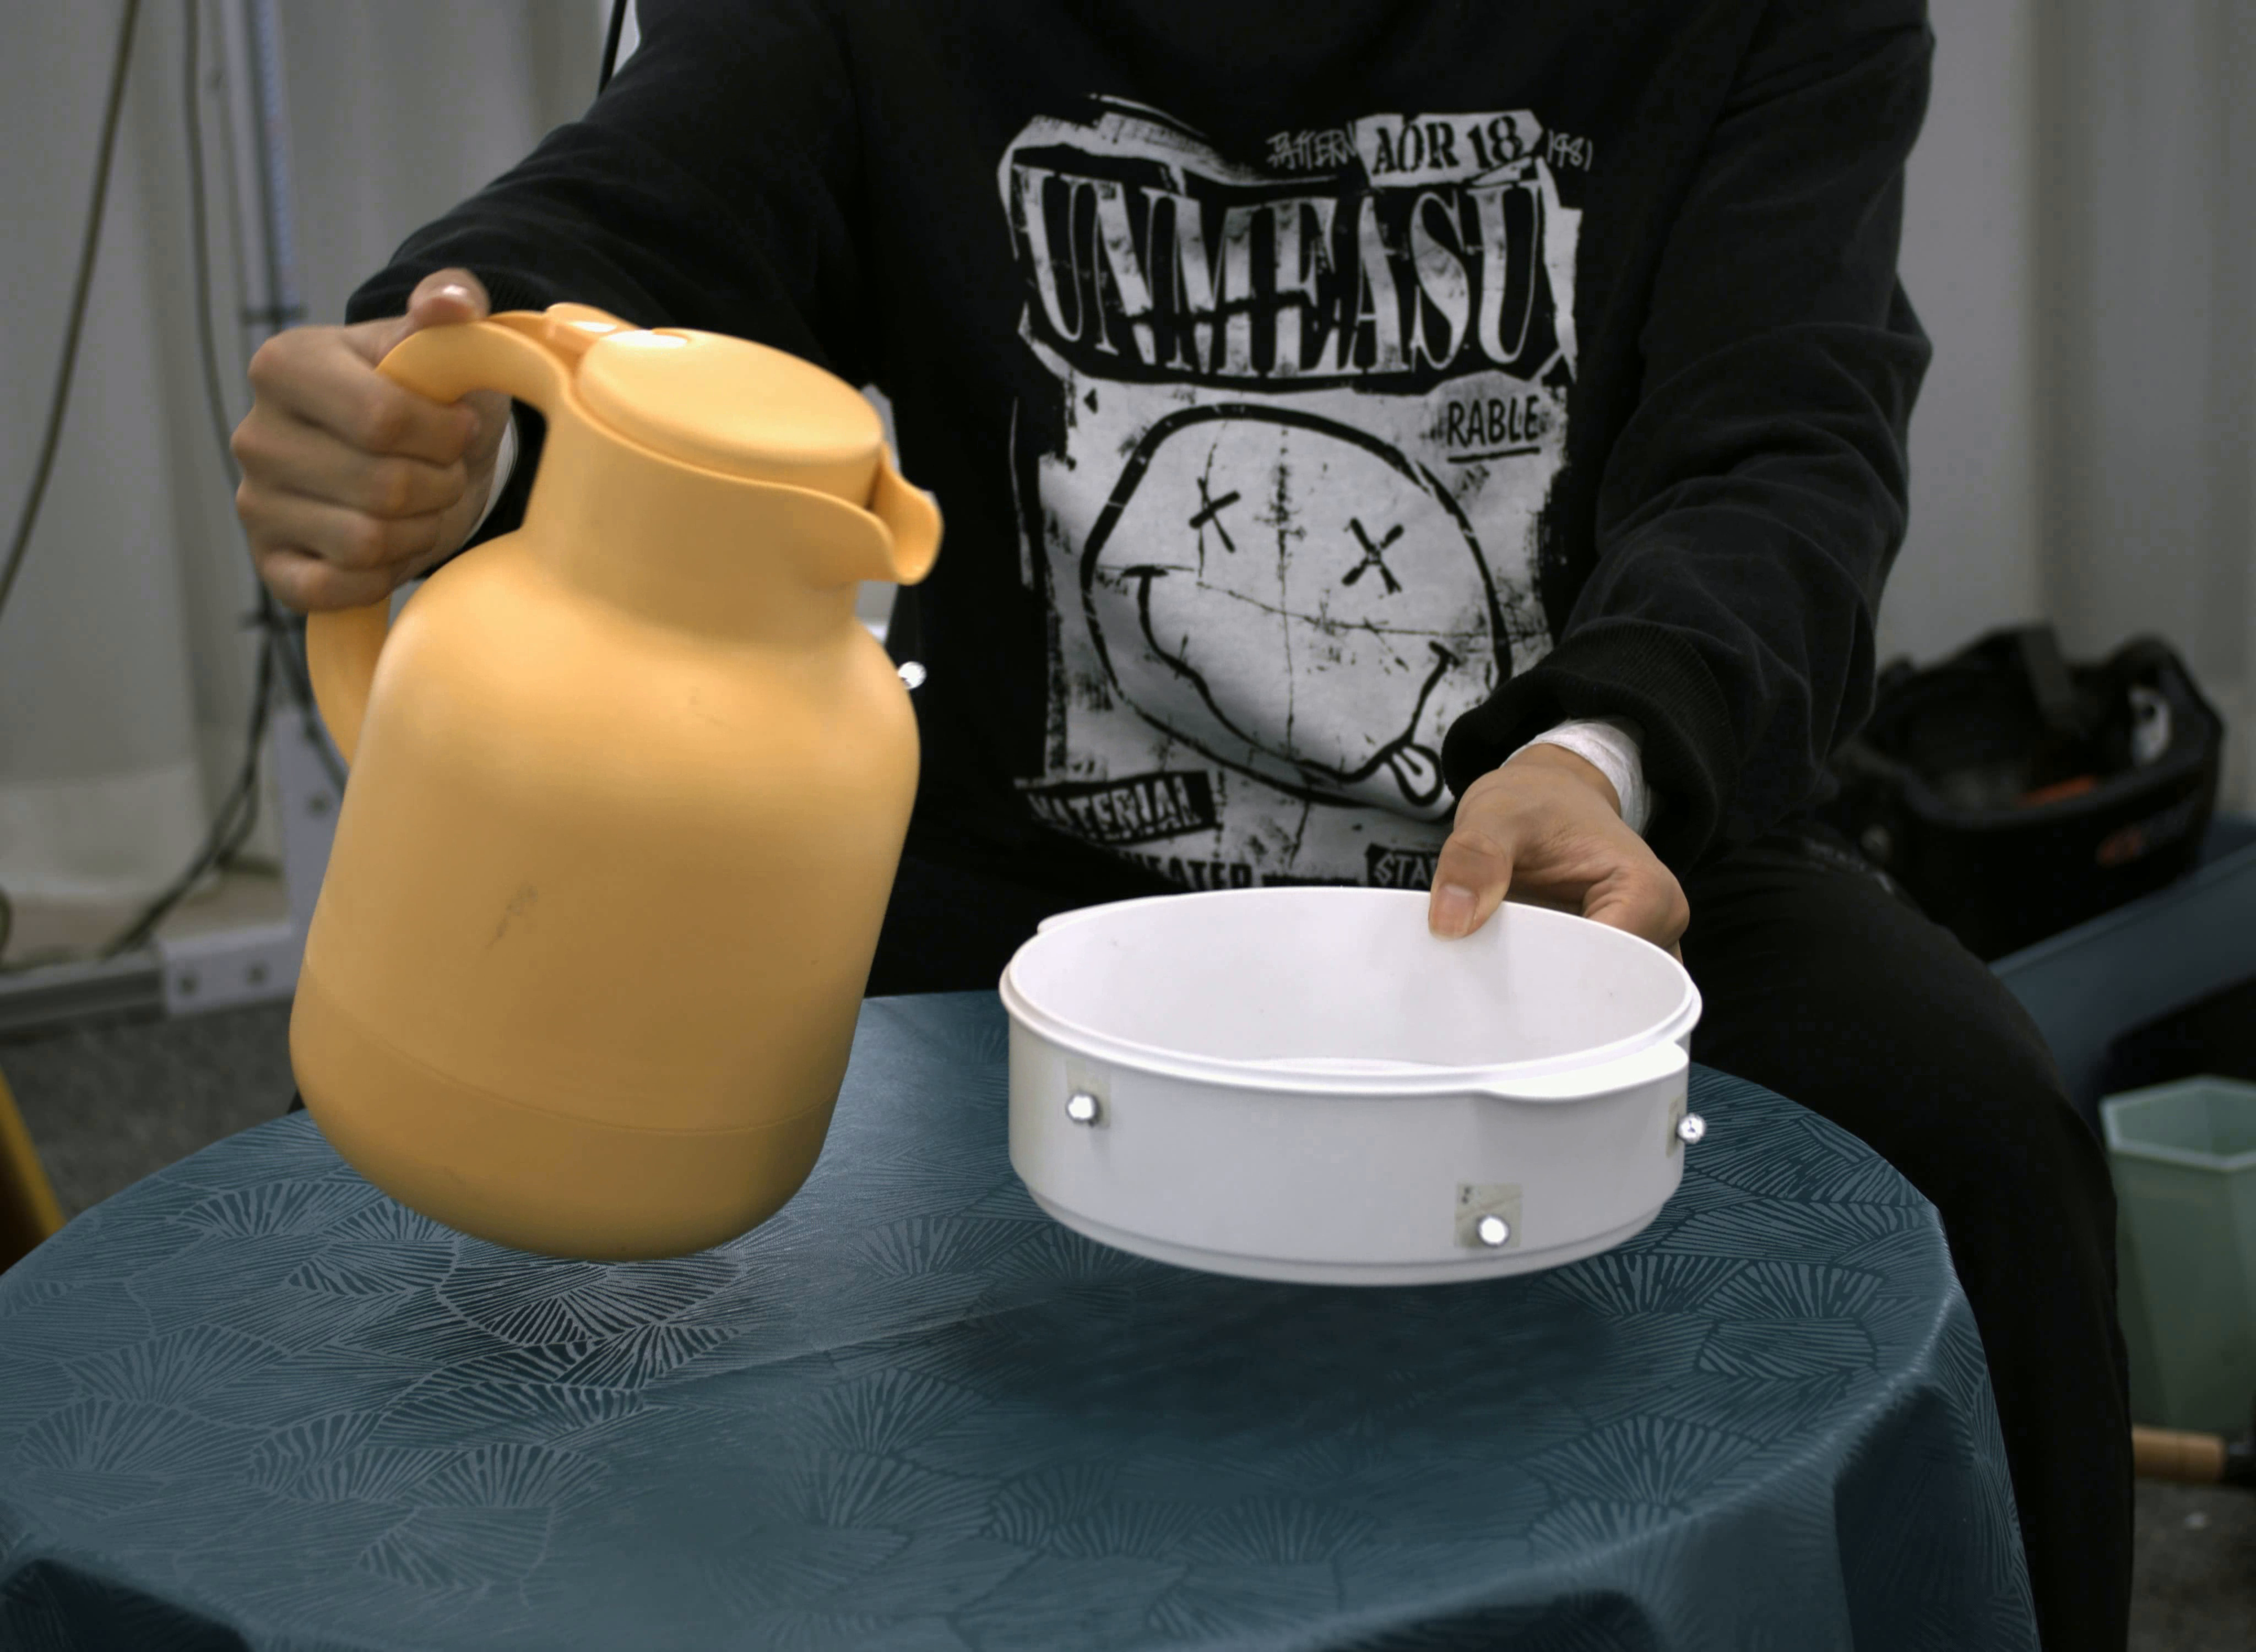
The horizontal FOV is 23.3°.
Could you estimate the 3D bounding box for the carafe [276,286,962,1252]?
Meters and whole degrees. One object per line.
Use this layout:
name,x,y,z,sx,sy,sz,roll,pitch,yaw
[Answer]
carafe,-0.156,-0.026,1.595,0.204,0.259,0.163,31,22,27

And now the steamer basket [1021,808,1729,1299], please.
steamer basket,0.068,0.064,1.556,0.201,0.069,0.233,-14,29,-36
